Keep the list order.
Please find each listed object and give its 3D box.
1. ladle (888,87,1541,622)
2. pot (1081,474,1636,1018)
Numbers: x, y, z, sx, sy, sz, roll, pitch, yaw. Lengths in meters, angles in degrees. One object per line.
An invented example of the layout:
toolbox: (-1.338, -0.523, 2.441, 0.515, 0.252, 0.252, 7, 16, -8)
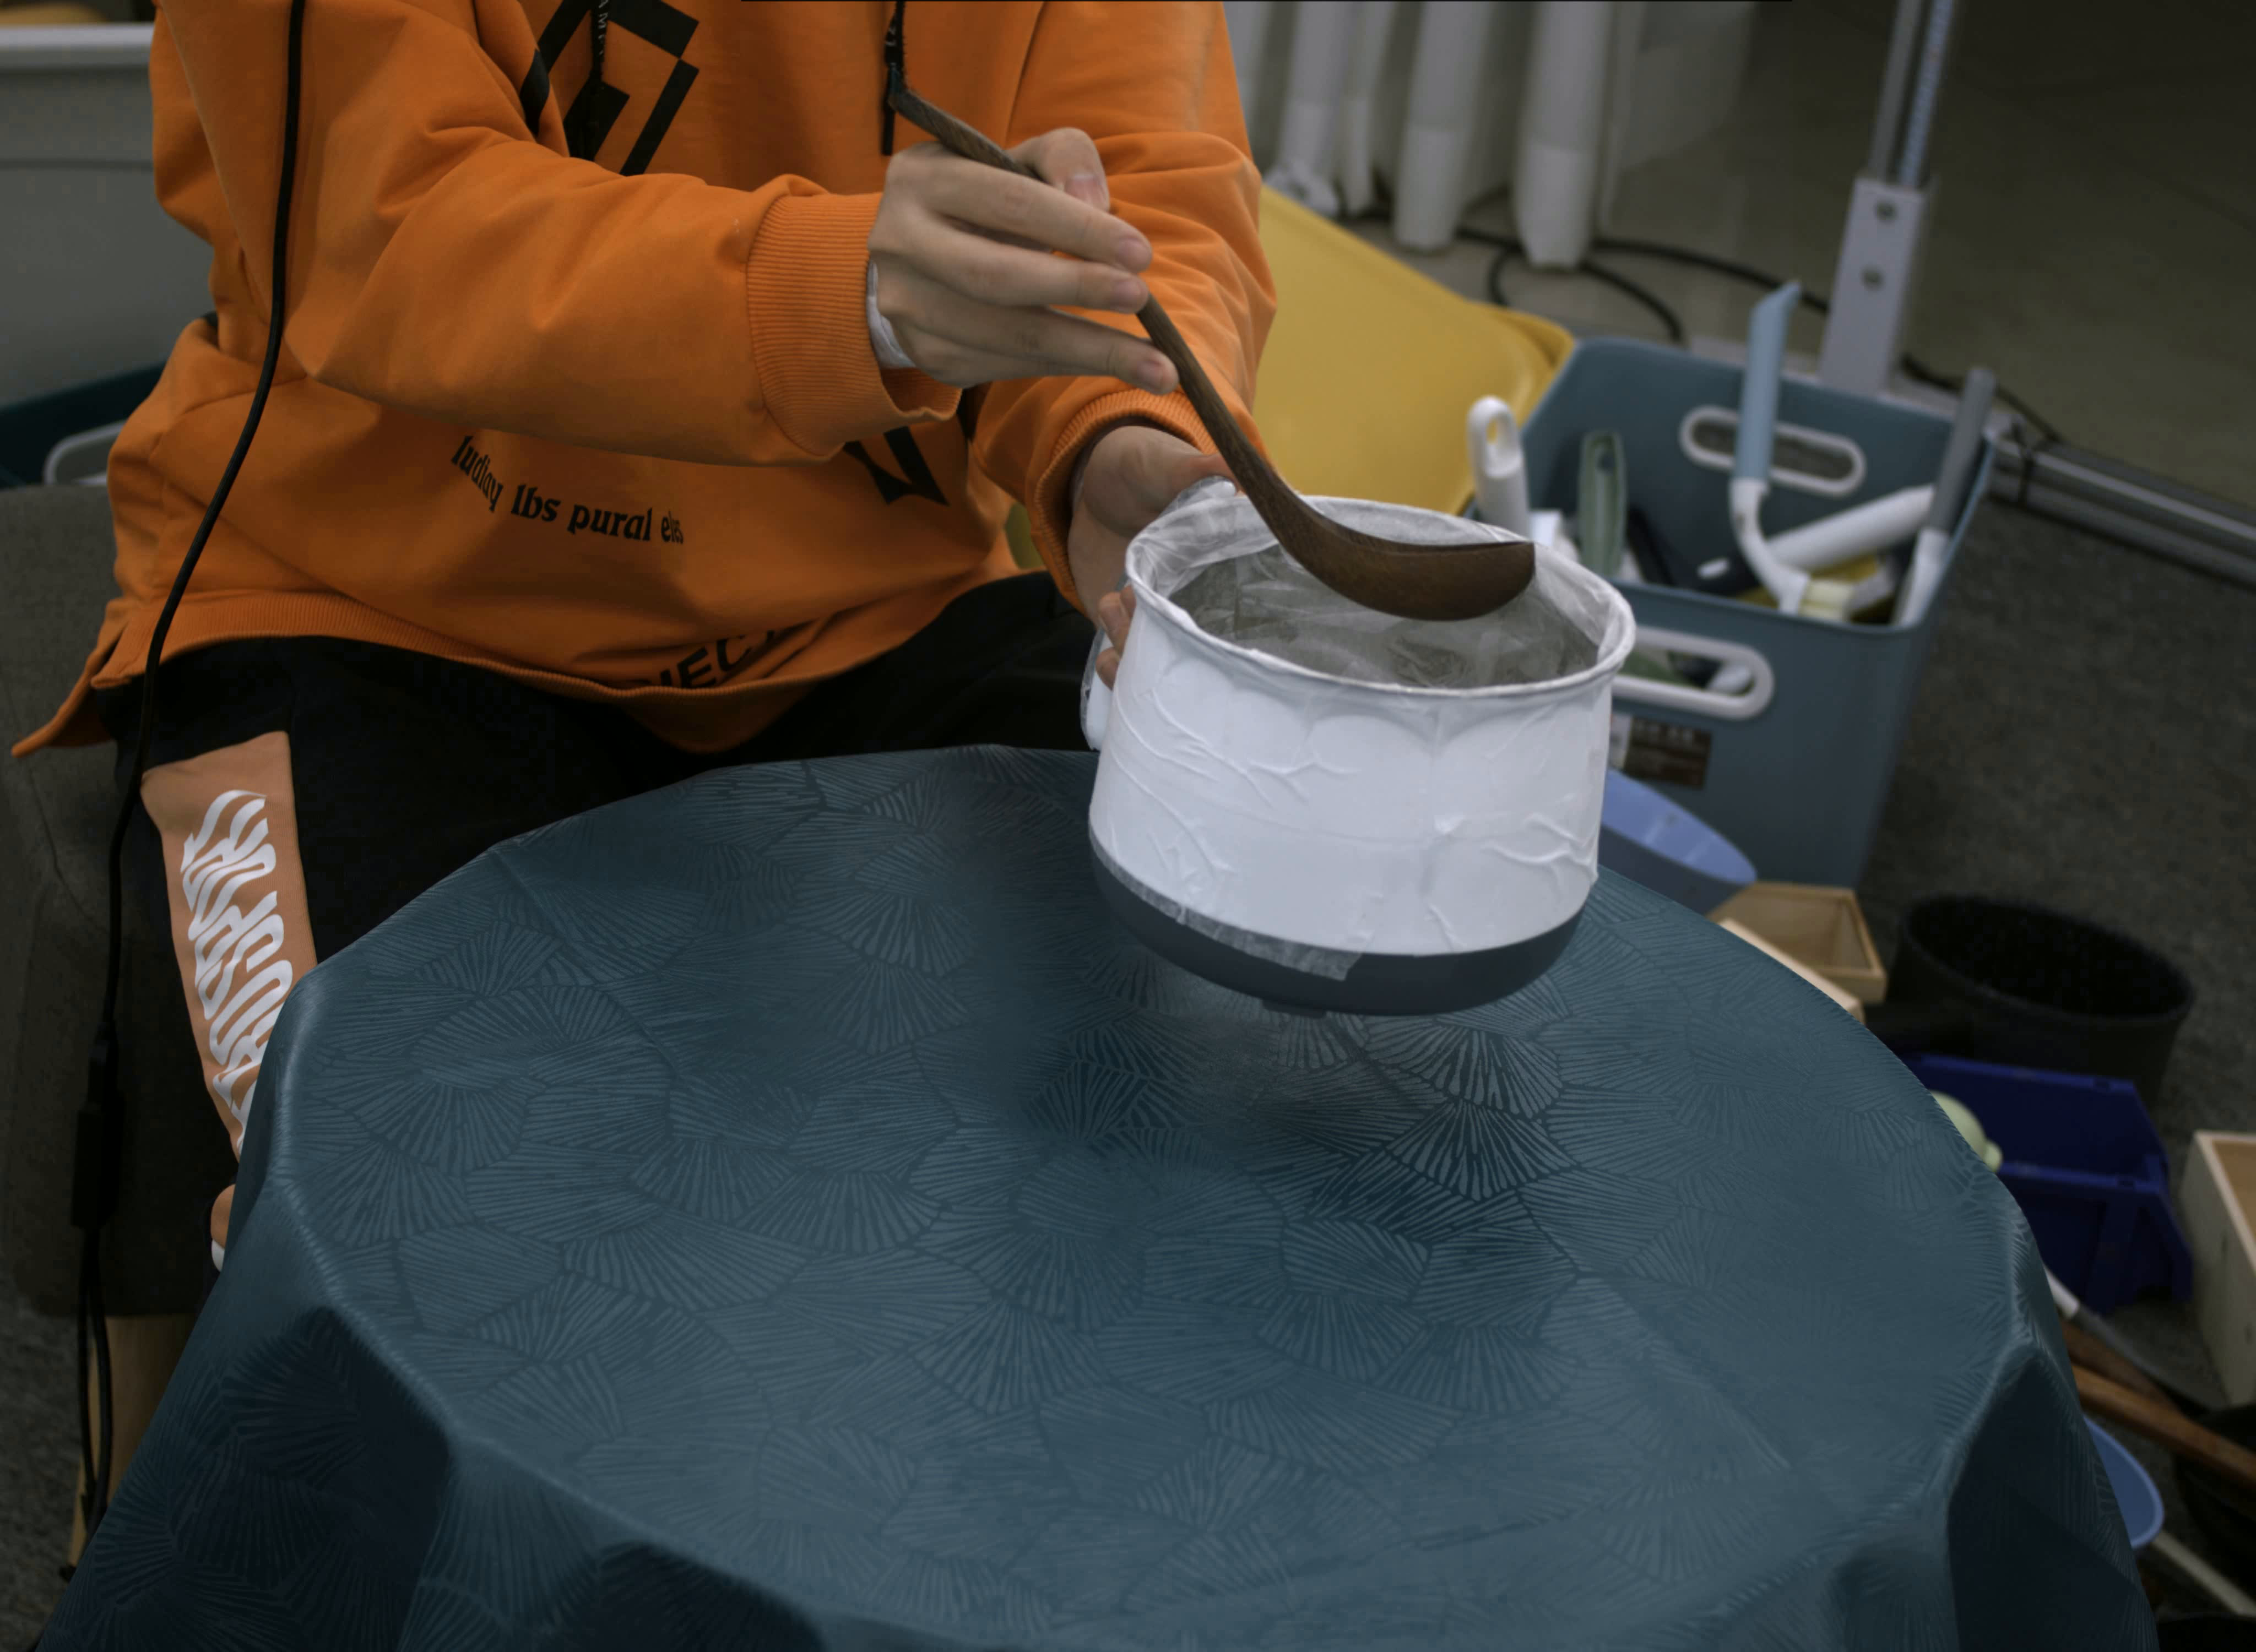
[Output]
ladle: (0.032, -0.173, 1.838, 0.274, 0.071, 0.076, 49, 4, 2)
pot: (0.062, -0.034, 1.862, 0.177, 0.136, 0.236, -9, 28, -35)
